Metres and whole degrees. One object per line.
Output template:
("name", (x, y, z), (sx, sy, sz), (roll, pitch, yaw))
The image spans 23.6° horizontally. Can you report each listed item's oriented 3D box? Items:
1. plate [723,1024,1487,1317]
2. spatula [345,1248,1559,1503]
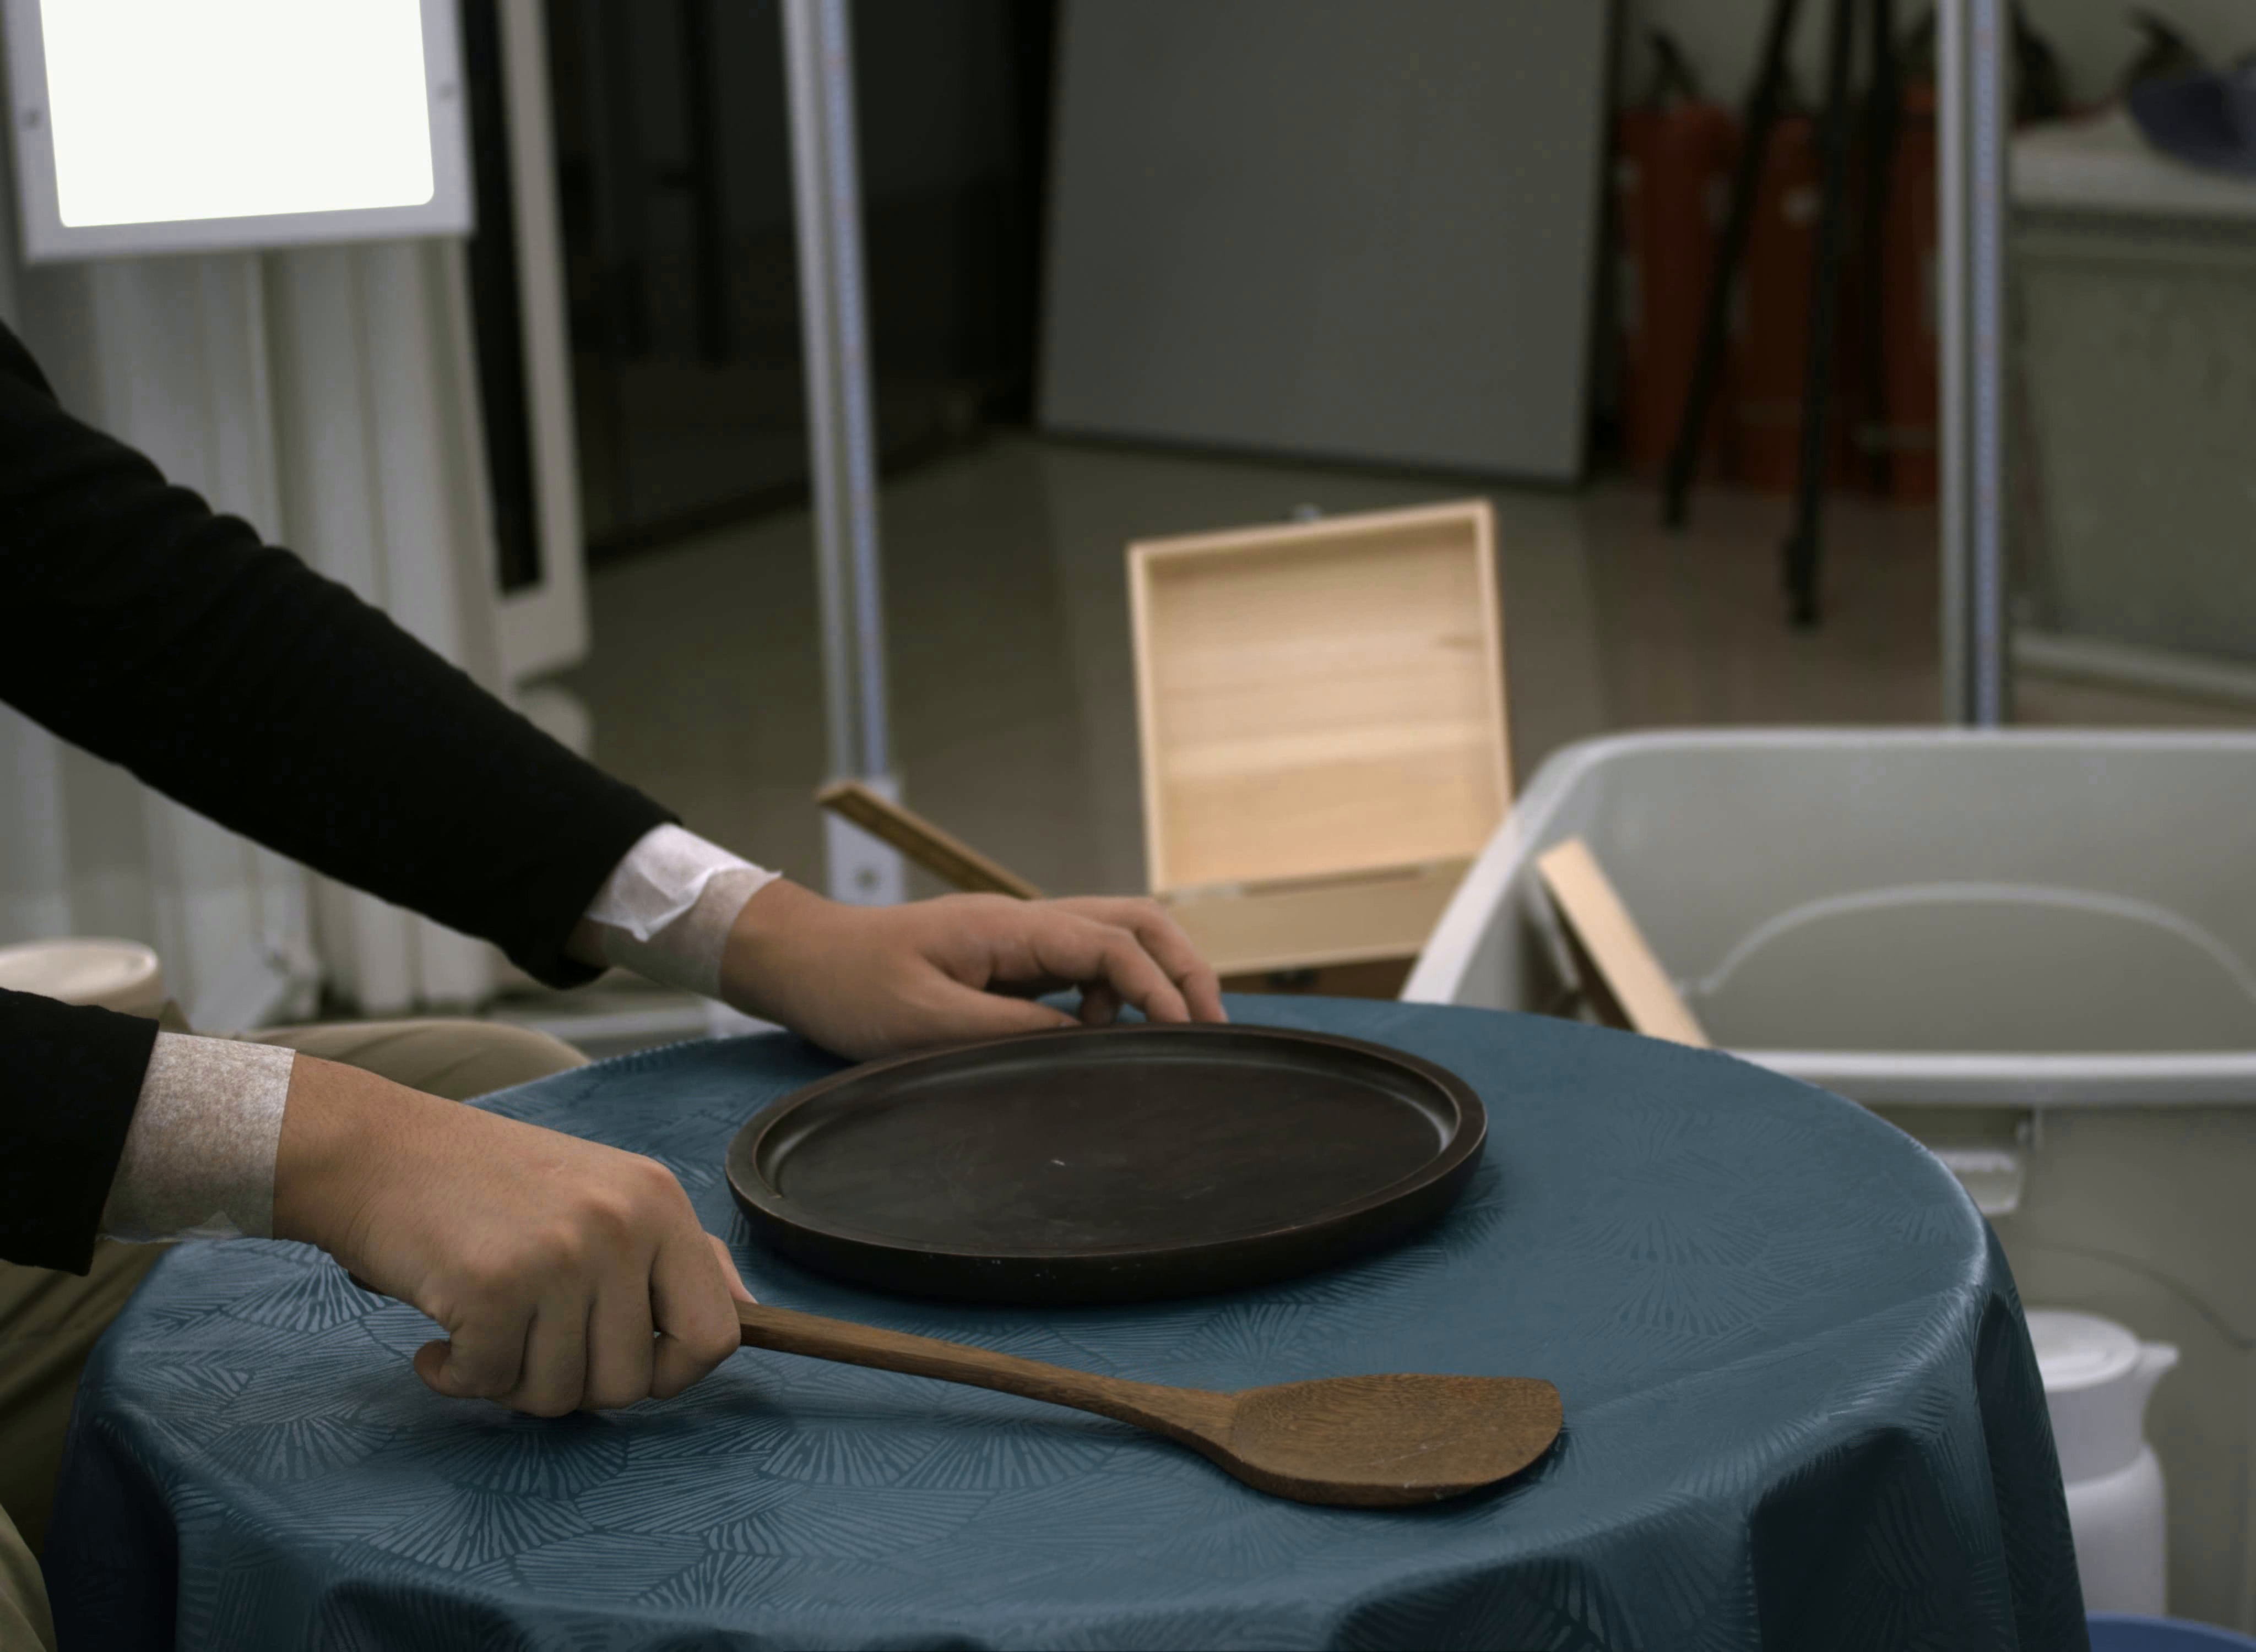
("plate", (-0.007, 0.111, 1.767), (0.251, 0.029, 0.255), (-4, 15, 0))
("spatula", (-0.060, 0.155, 1.575), (0.386, 0.016, 0.095), (7, 17, 22))
